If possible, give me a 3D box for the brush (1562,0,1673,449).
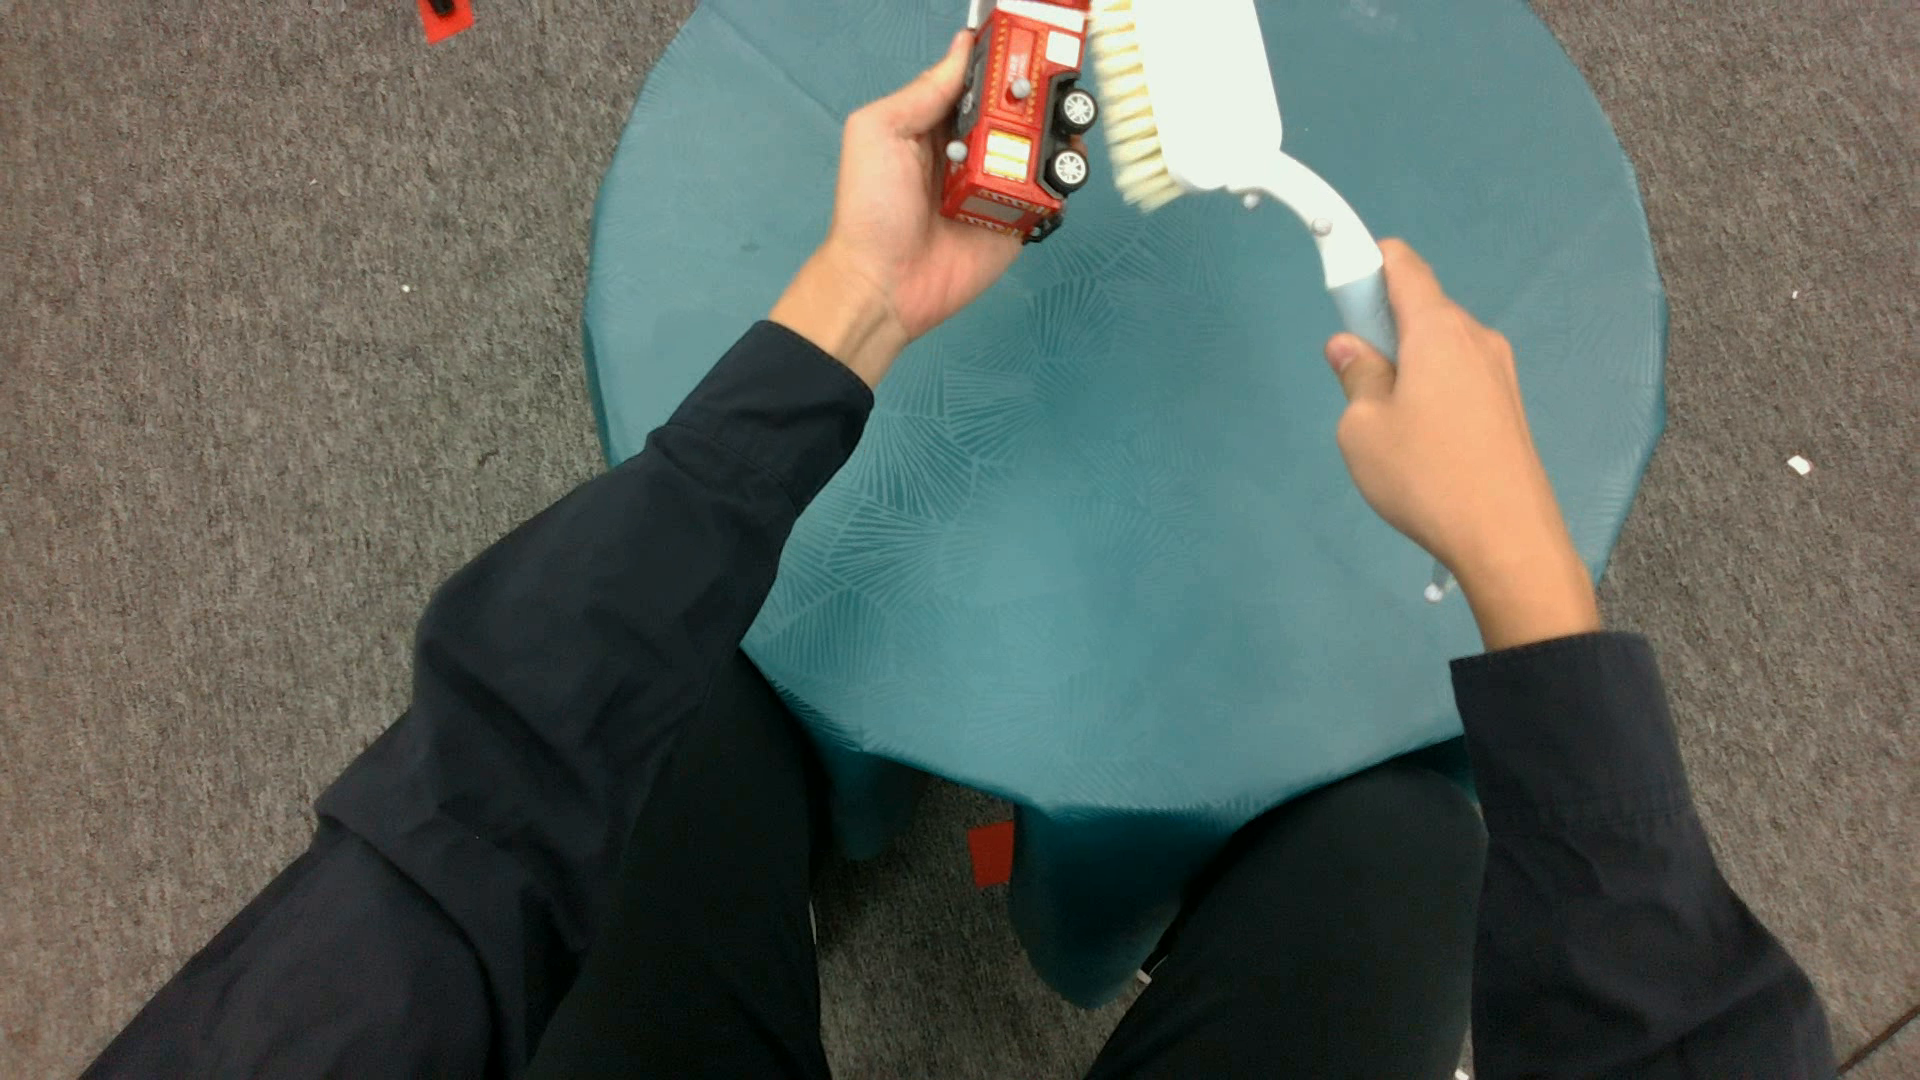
[{"bbox_3d":[0.220,-0.194,0.549,0.083,0.085,0.325,-9,104,7],"label":"brush"}]
